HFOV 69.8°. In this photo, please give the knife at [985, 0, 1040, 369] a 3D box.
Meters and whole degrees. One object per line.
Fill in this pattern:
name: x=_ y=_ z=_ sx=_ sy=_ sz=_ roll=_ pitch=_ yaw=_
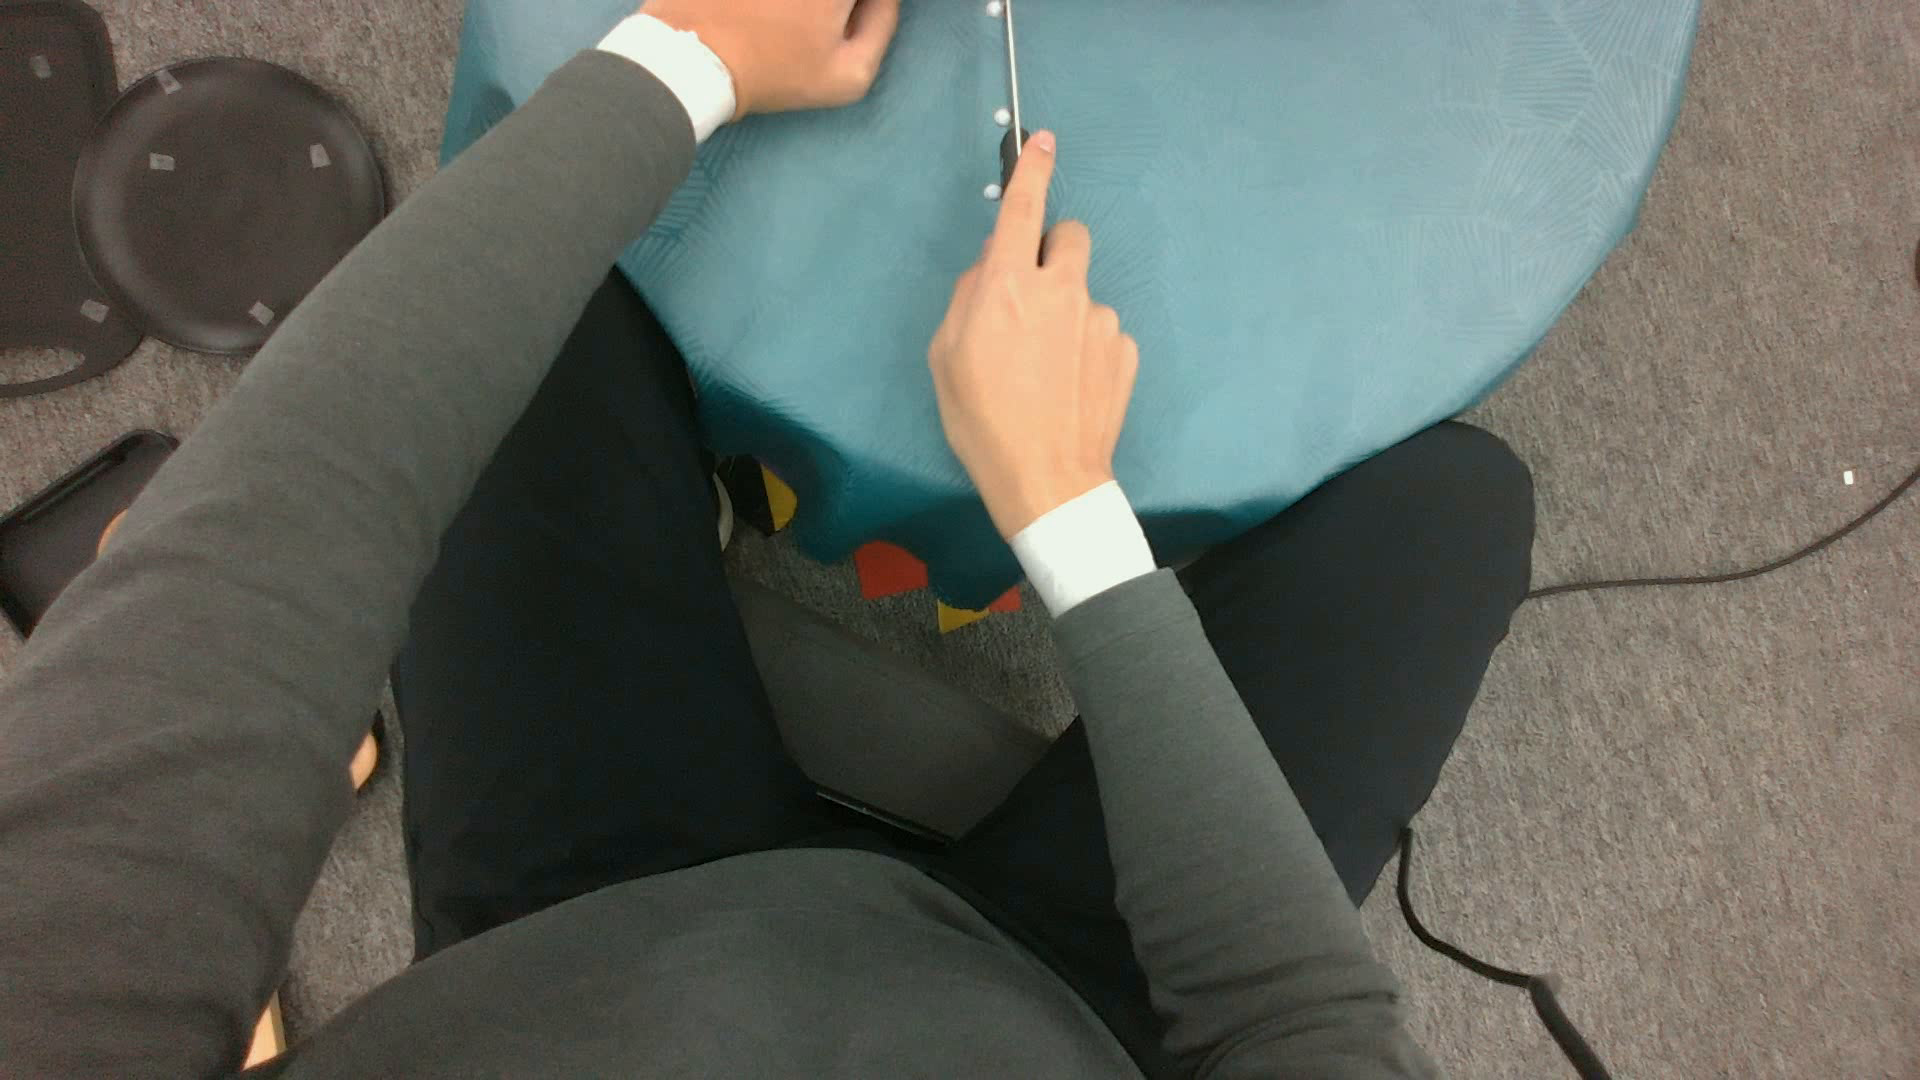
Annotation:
knife: x=0.018 y=-0.195 z=0.622 sx=0.016 sy=0.024 sz=0.238 roll=-5 pitch=84 yaw=-2
